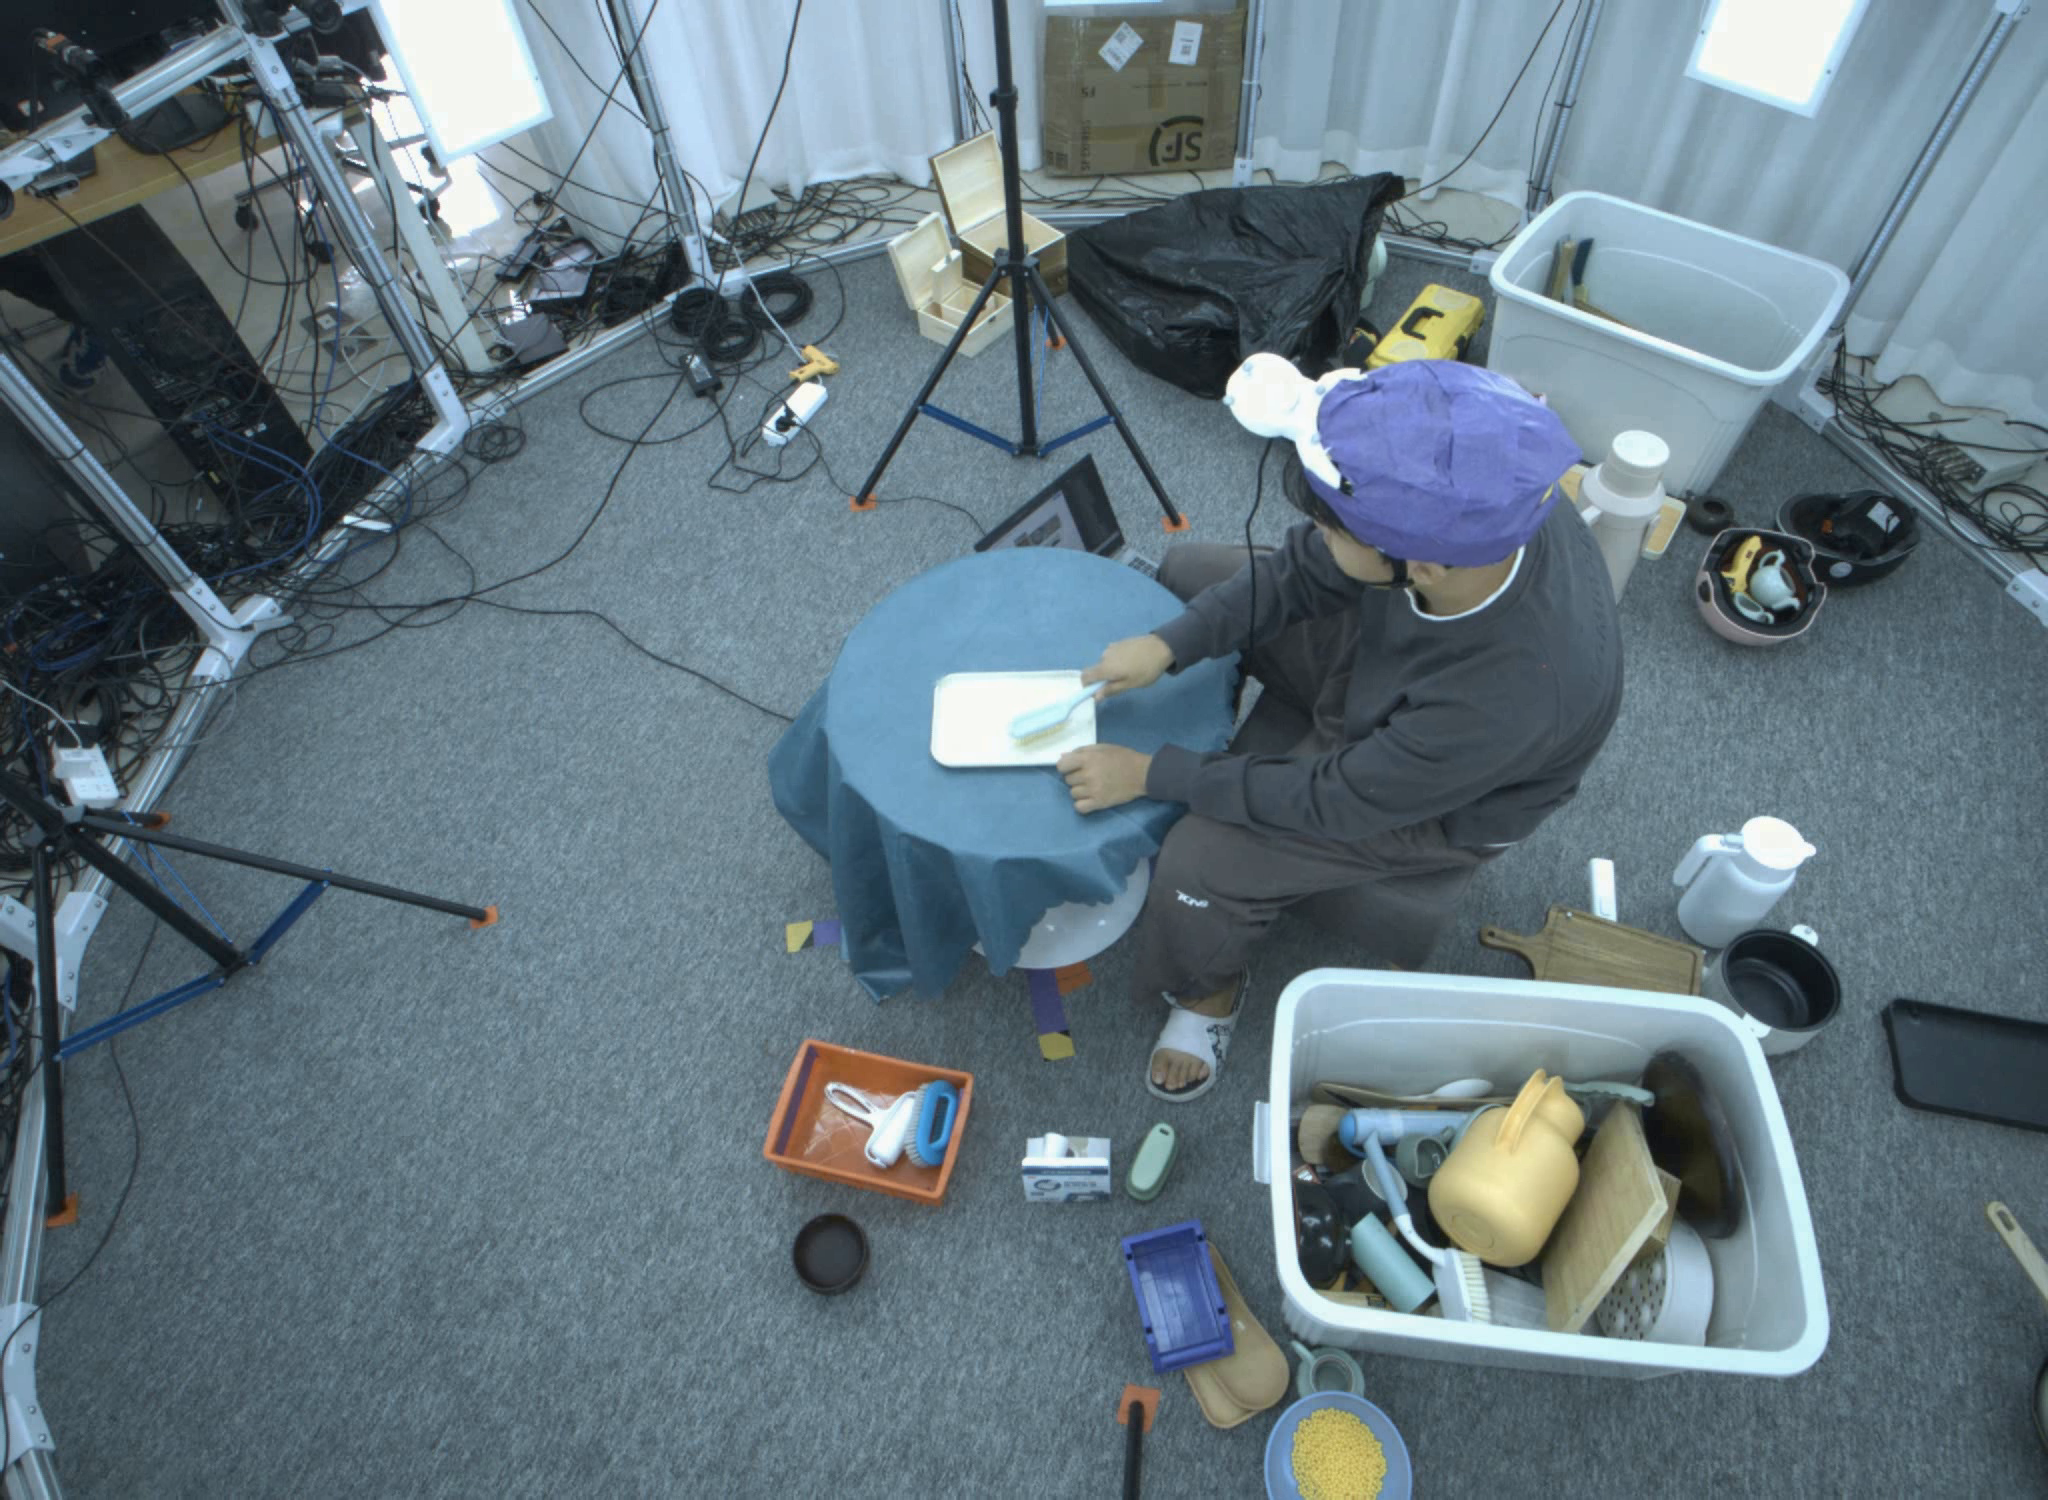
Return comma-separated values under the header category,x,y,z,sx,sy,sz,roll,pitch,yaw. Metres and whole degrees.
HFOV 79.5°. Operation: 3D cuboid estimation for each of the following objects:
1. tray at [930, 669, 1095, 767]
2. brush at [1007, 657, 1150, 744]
category,x,y,z,sx,sy,sz,roll,pitch,yaw
tray,-0.016,-0.047,1.810,0.240,0.017,0.169,-1,56,1
brush,0.081,-0.074,1.792,0.229,0.050,0.037,-30,63,-3
